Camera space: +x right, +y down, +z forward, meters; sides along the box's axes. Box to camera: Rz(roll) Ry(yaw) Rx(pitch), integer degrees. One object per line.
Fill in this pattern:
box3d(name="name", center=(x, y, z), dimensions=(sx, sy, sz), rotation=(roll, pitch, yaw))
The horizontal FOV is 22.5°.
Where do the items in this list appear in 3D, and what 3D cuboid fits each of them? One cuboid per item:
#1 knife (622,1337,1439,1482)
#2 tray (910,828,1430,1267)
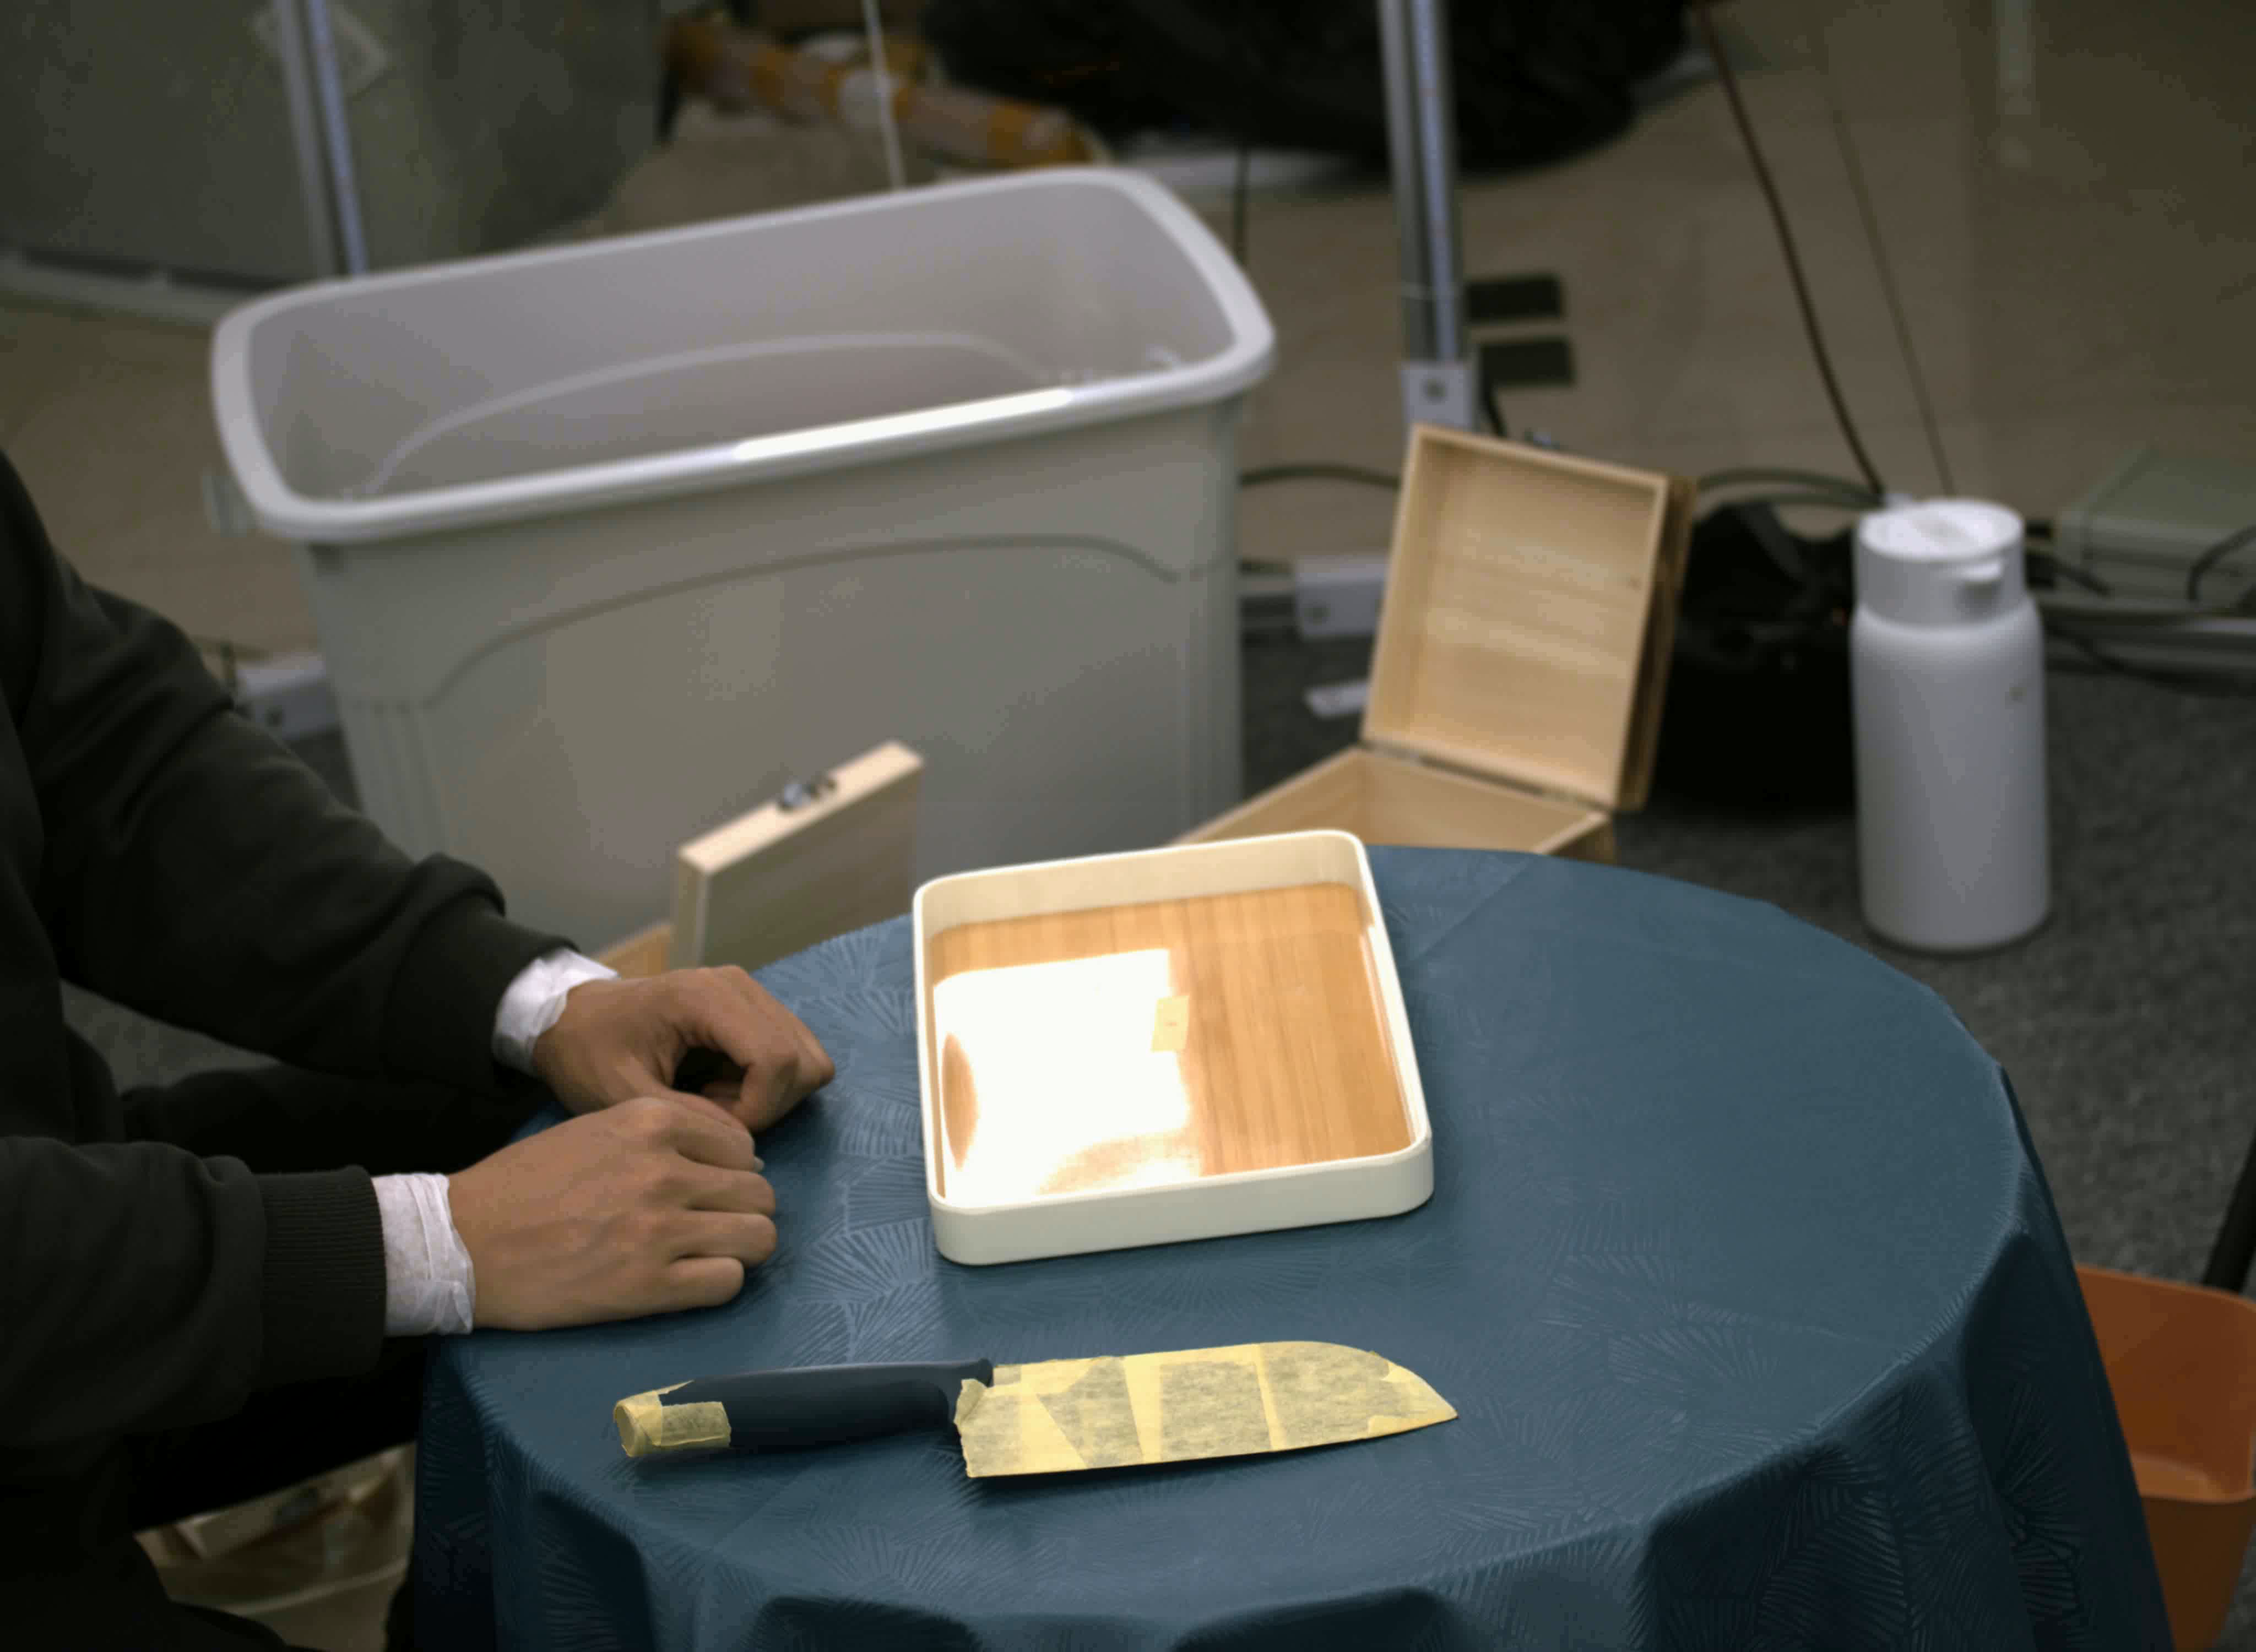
box3d(name="knife", center=(-0.034, 0.208, 1.993), dimensions=(0.289, 0.027, 0.080), rotation=(-6, 23, 0))
box3d(name="tray", center=(0.012, 0.083, 2.237), dimensions=(0.191, 0.028, 0.296), rotation=(-8, 24, 0))
